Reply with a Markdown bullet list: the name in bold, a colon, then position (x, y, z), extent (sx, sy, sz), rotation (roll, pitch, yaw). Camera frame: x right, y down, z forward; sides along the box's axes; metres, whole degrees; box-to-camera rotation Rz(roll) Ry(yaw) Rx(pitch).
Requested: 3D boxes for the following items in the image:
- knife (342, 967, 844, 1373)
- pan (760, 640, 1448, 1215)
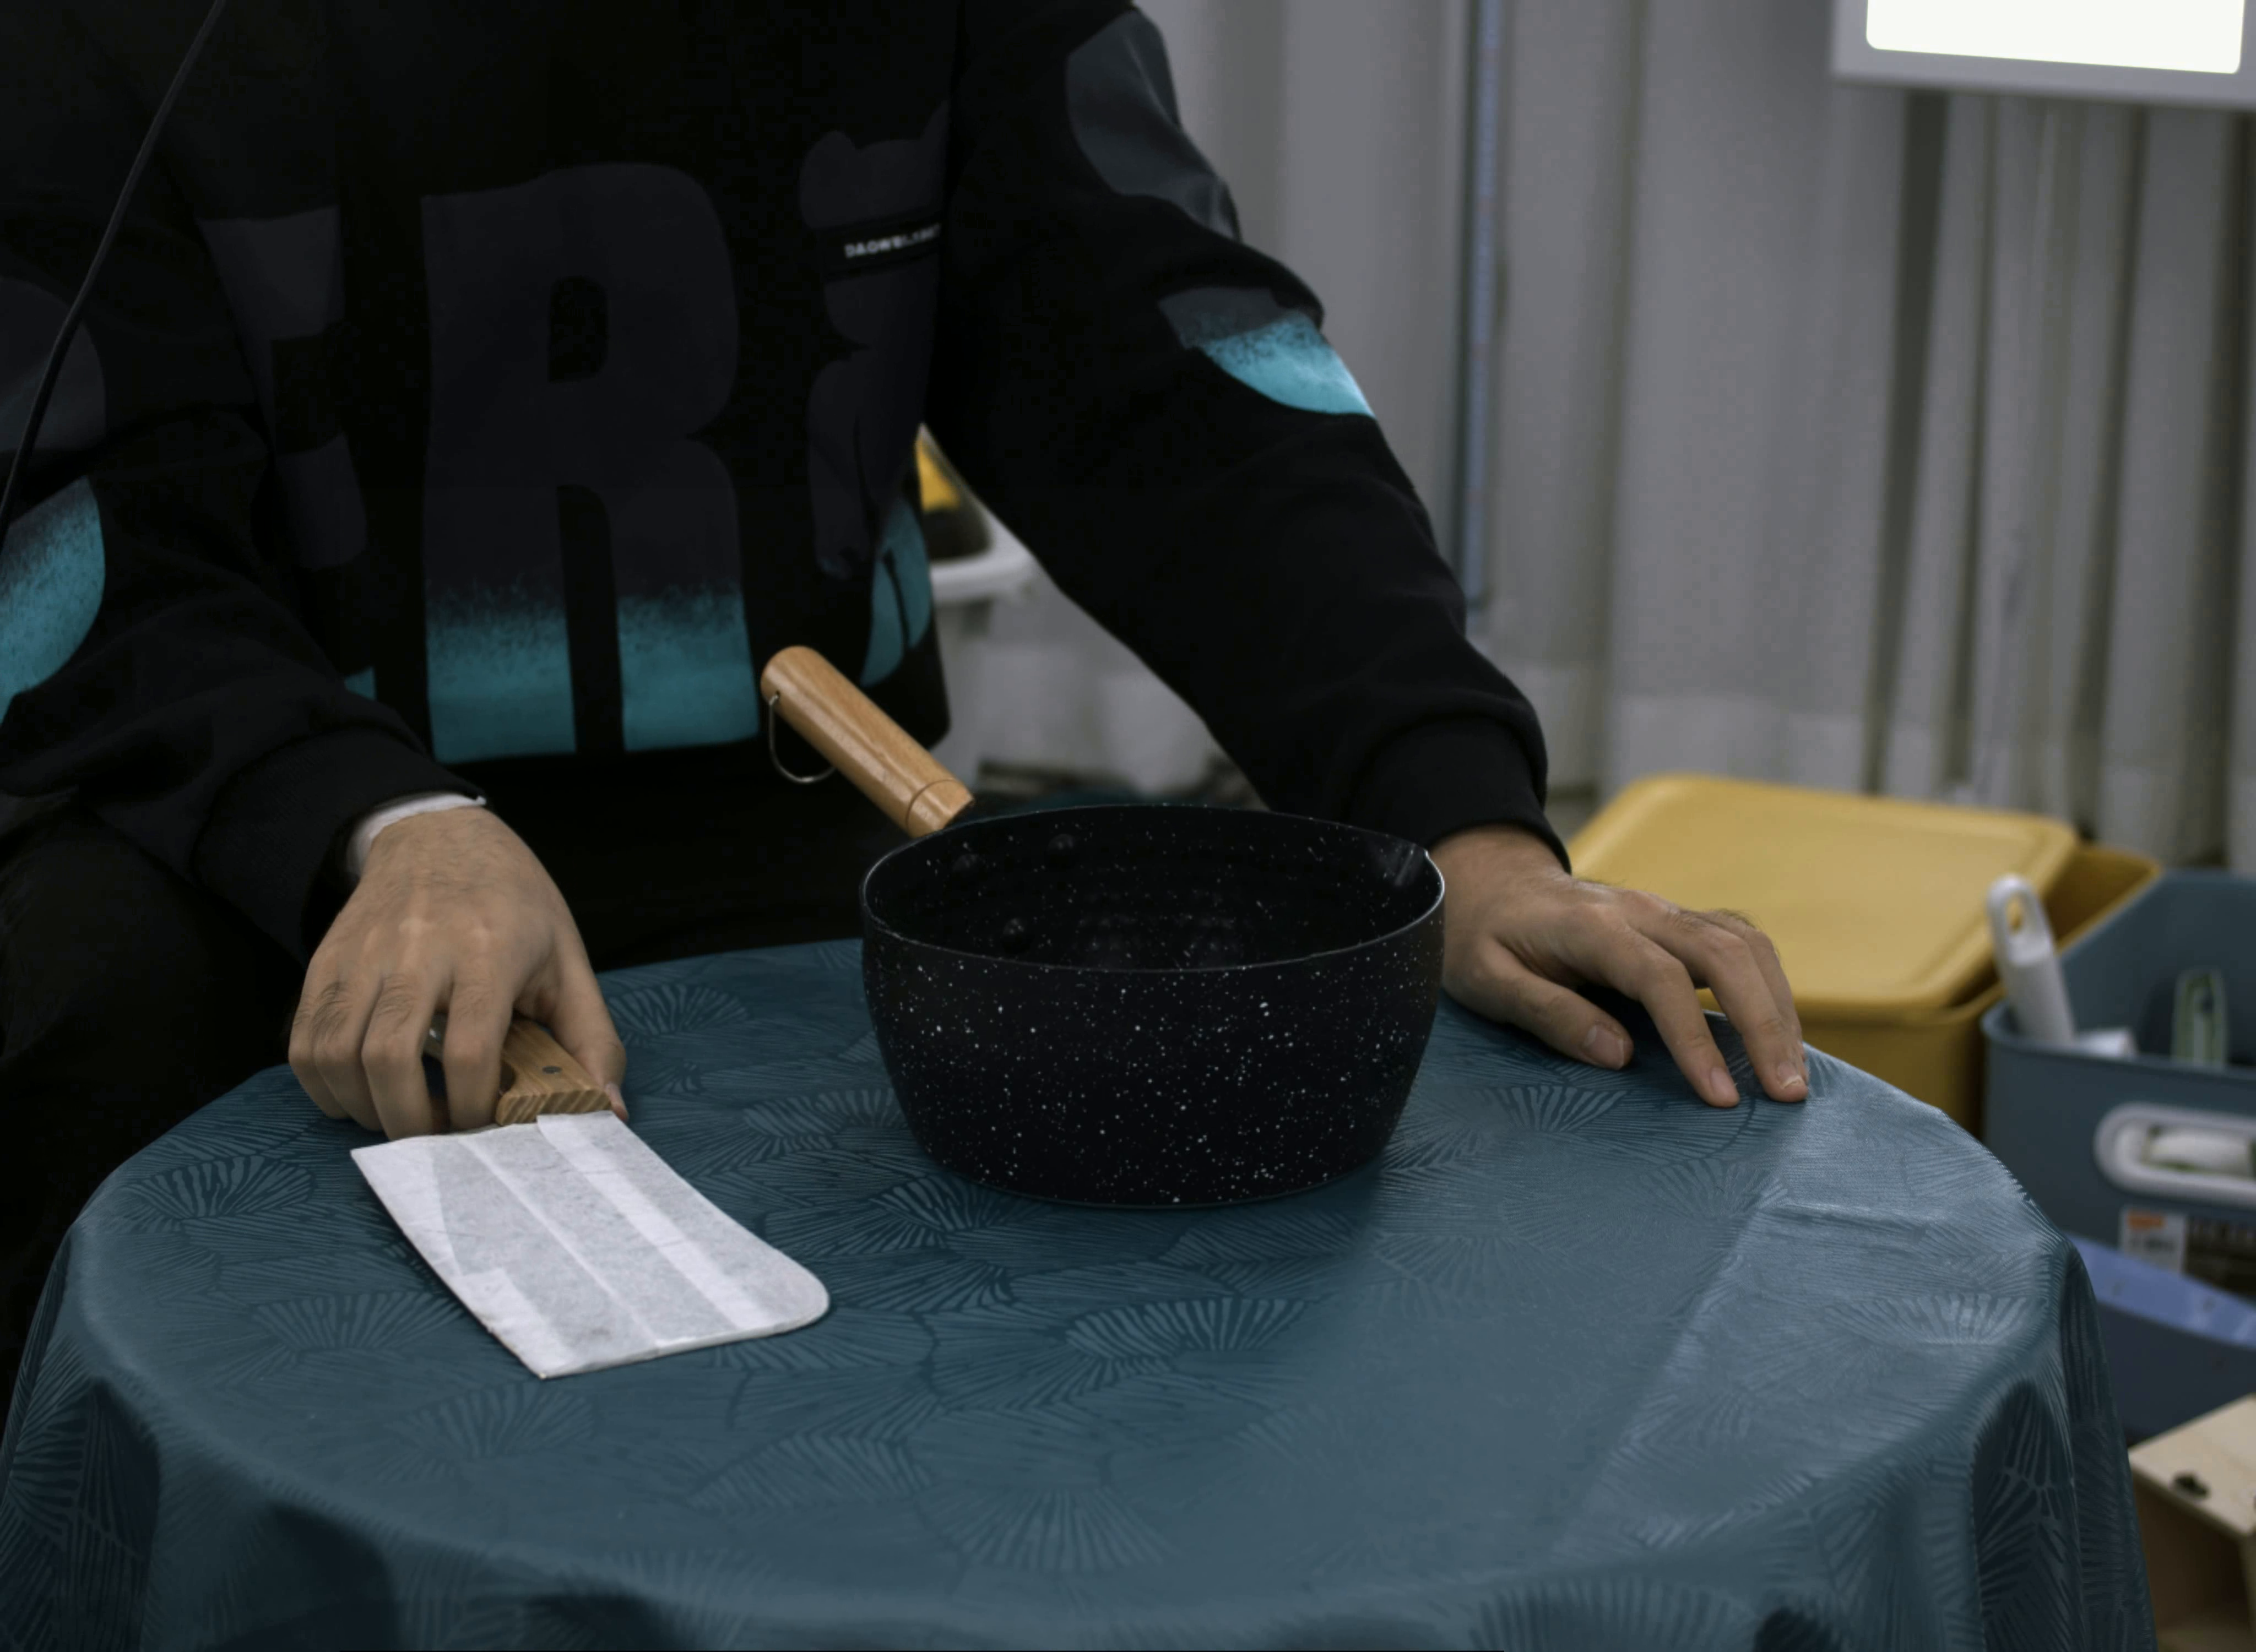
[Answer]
- **knife**: position (-0.180, 0.103, 1.618), extent (0.114, 0.022, 0.311), rotation (-6, 20, -21)
- **pan**: position (-0.034, 0.028, 1.720), extent (0.208, 0.109, 0.338), rotation (-11, 20, -31)
